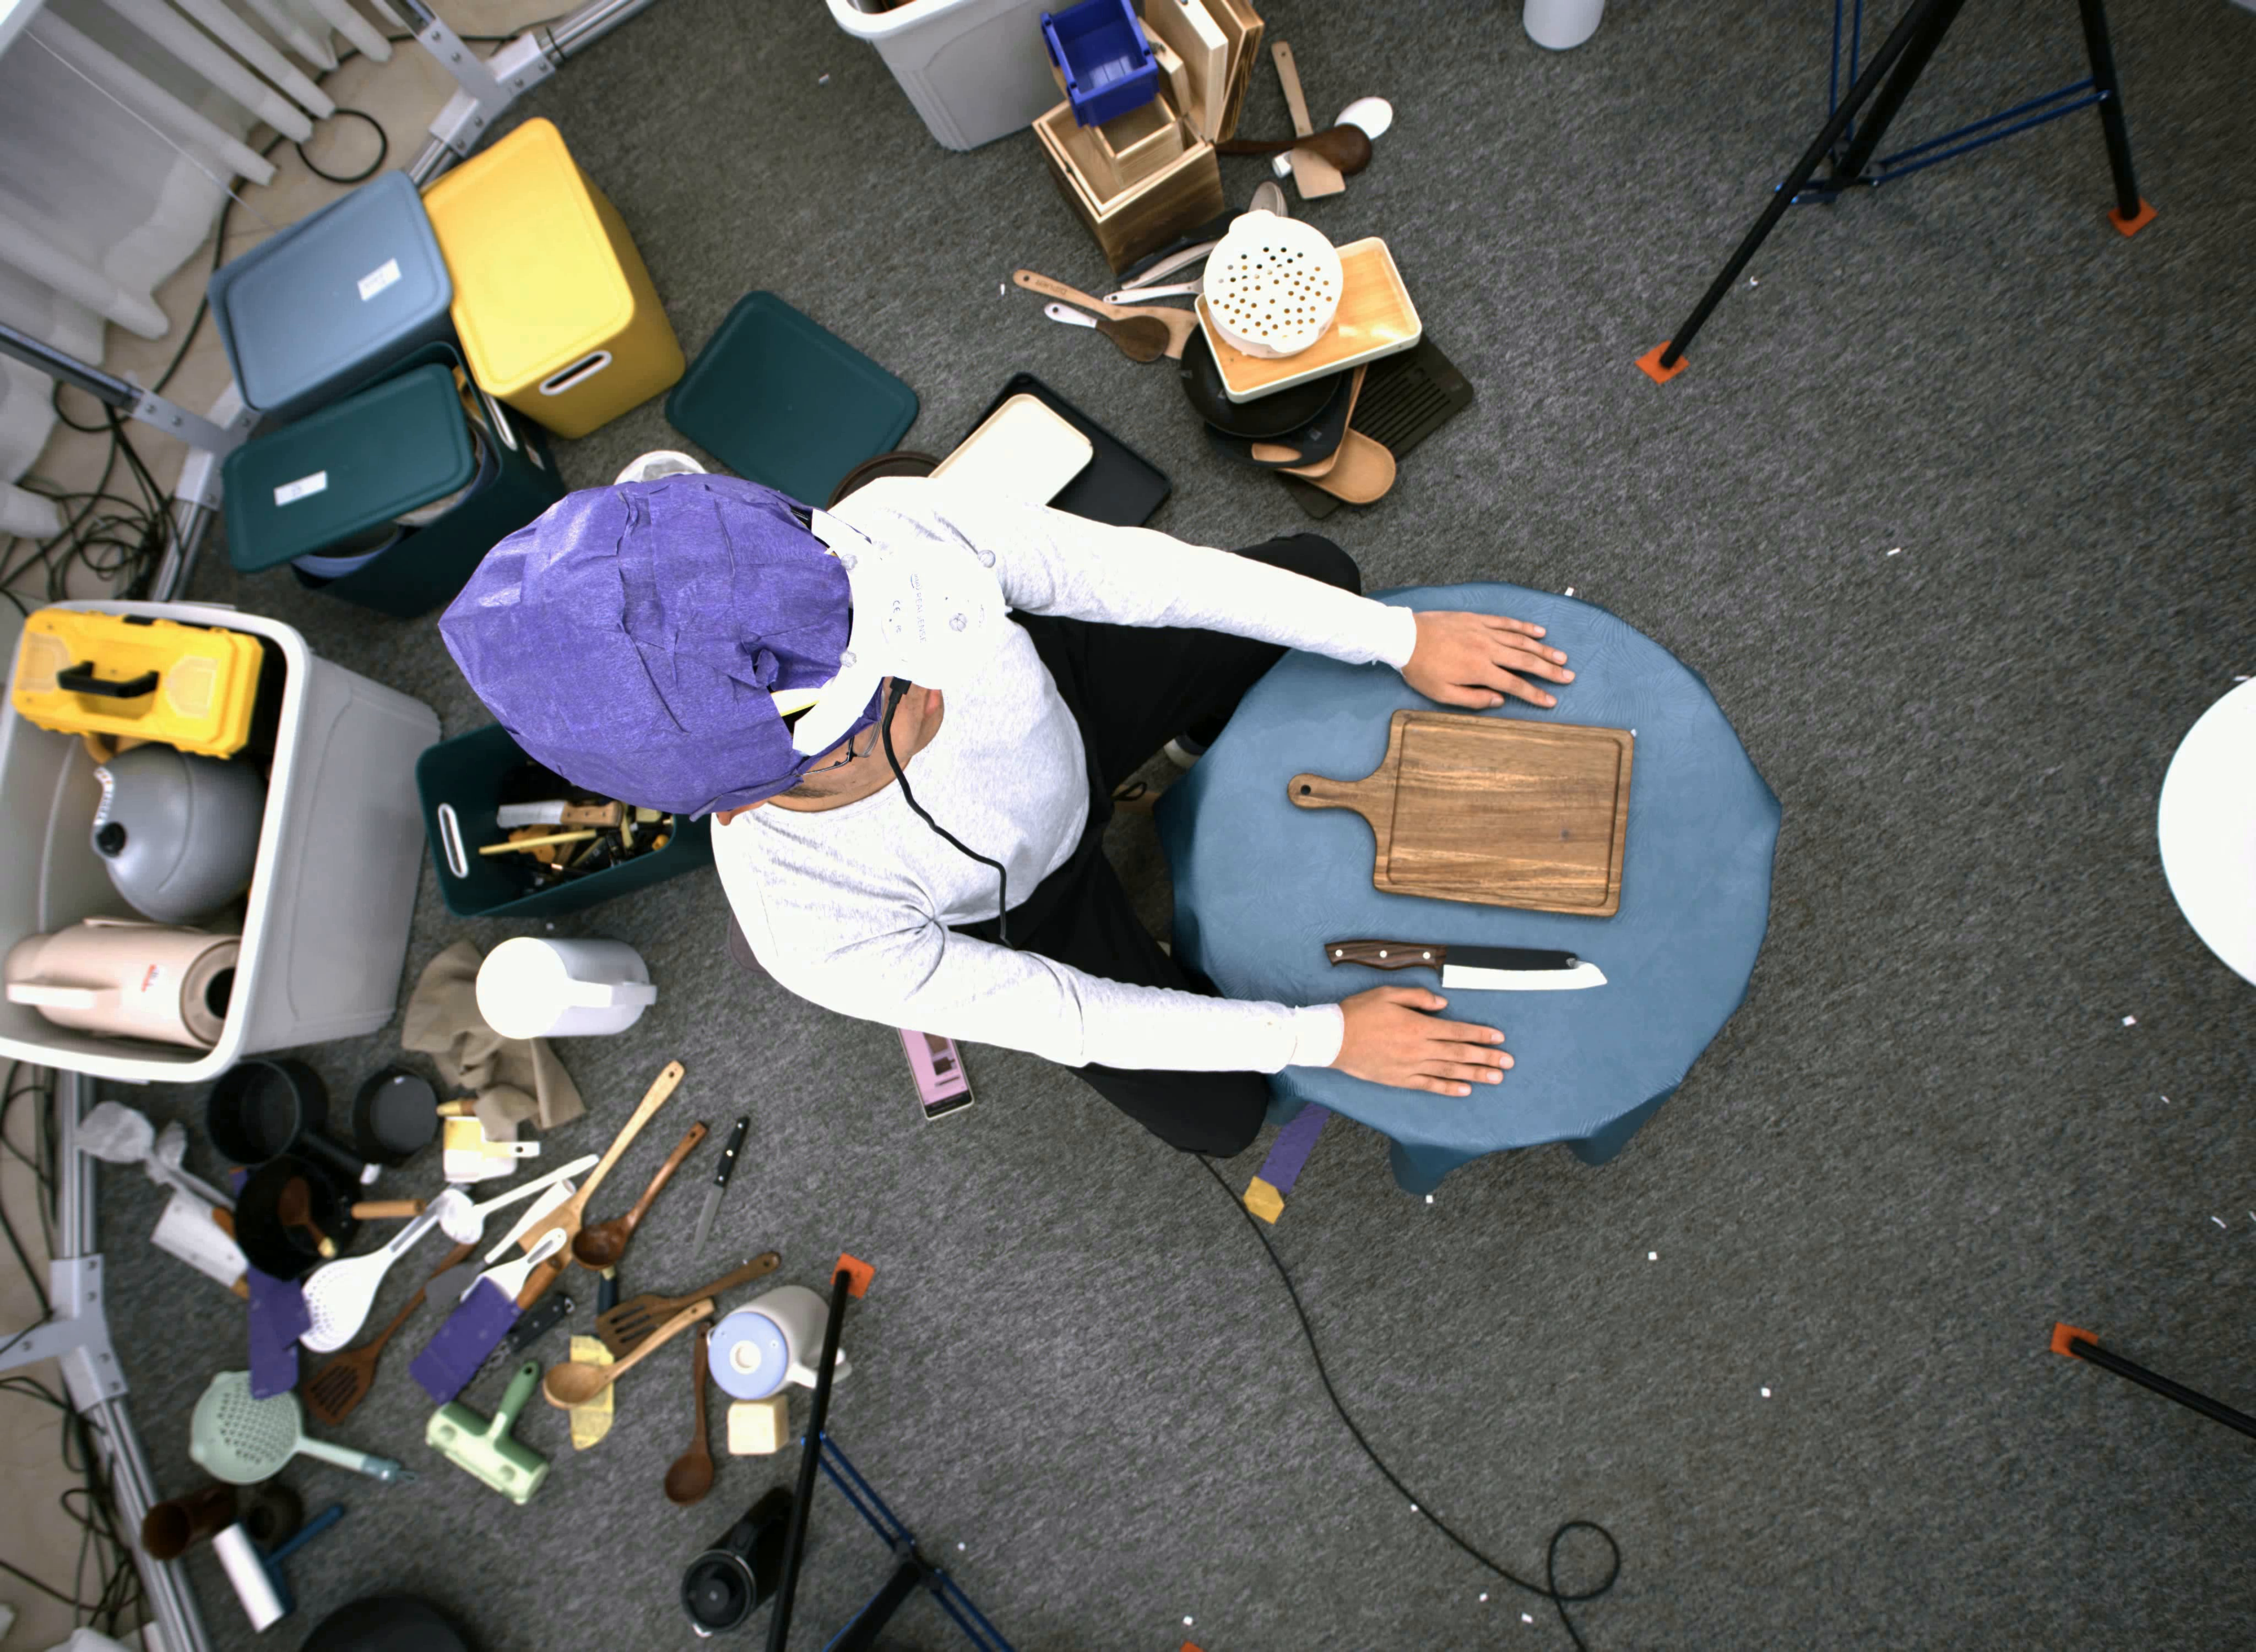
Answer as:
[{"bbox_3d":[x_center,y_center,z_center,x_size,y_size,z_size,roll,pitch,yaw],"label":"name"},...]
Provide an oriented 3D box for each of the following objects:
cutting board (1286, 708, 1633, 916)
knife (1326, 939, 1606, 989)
[{"bbox_3d":[0.341,-0.023,1.442,0.353,0.023,0.200,6,87,11],"label":"cutting board"},{"bbox_3d":[0.350,0.142,1.434,0.290,0.020,0.050,4,93,8],"label":"knife"}]
